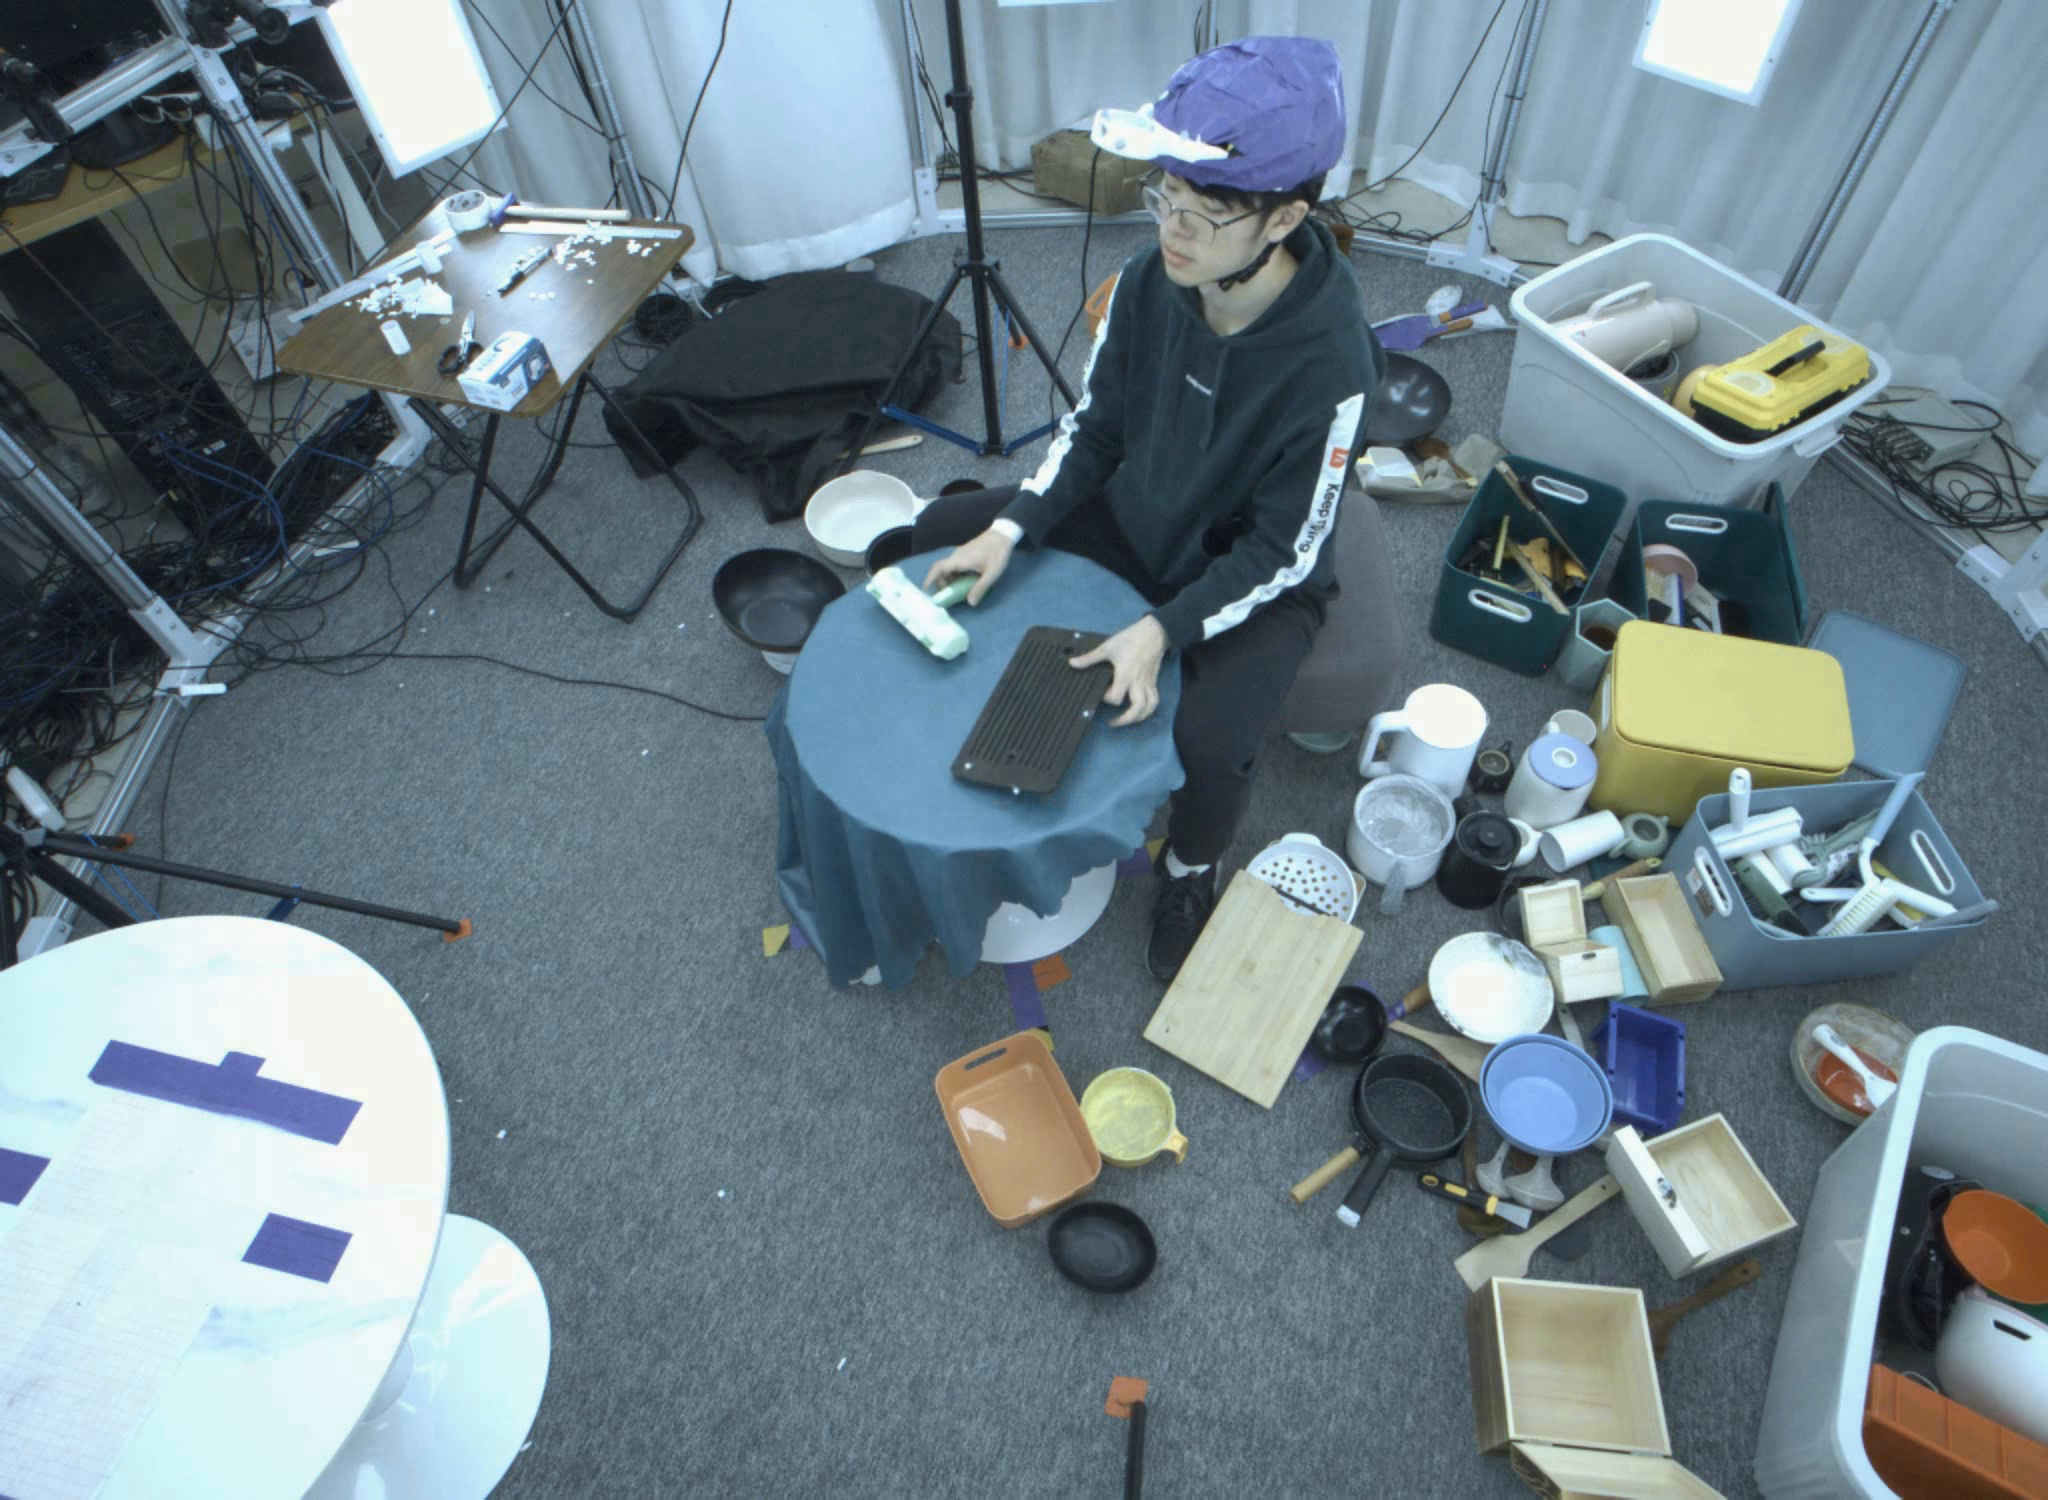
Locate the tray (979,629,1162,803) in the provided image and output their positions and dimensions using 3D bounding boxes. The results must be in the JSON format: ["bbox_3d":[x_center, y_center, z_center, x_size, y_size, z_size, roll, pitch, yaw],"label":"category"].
[{"bbox_3d":[0.071,-0.054,1.790,0.167,0.019,0.306,14,55,25],"label":"tray"}]

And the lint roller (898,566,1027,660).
[{"bbox_3d":[-0.073,-0.248,1.912,0.184,0.083,0.195,-35,60,-17],"label":"lint roller"}]
